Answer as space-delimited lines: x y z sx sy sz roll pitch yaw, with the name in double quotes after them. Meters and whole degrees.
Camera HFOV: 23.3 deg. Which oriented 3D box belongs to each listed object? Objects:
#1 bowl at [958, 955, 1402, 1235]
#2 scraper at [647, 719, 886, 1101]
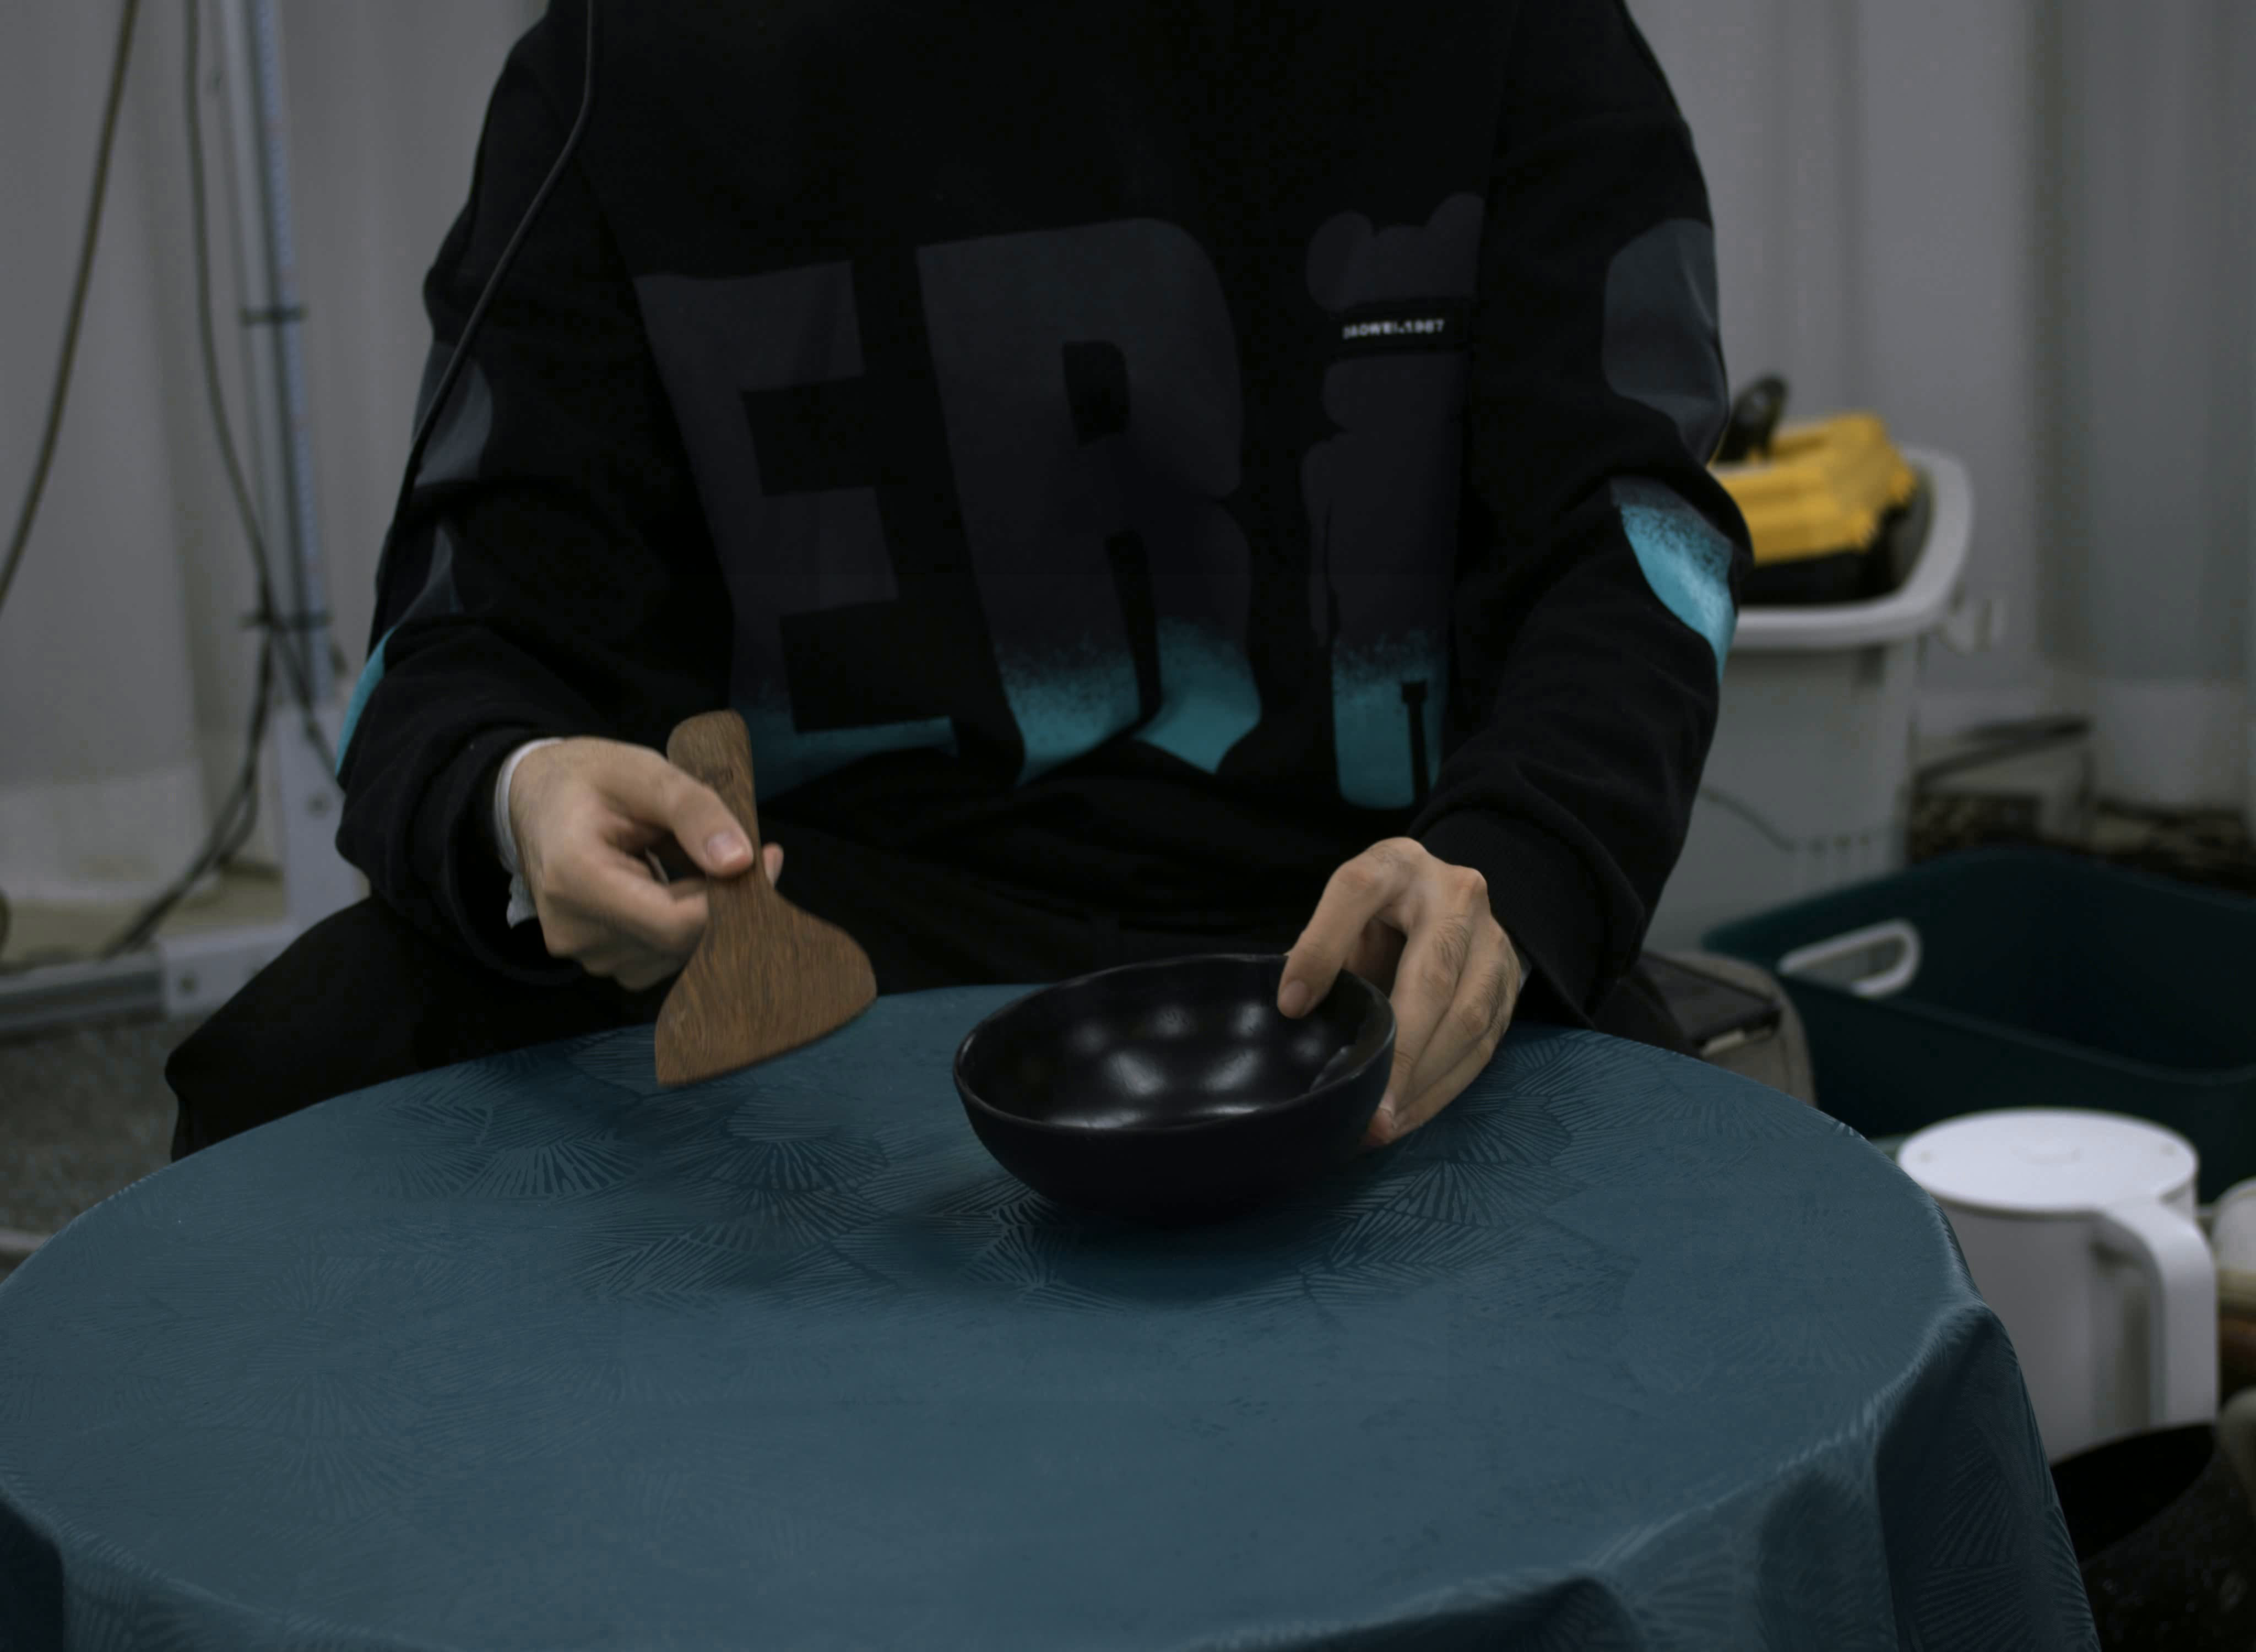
0.020 0.089 1.692 0.139 0.049 0.141 -9 19 3 "bowl"
-0.124 0.023 1.746 0.075 0.010 0.214 -19 32 1 "scraper"
